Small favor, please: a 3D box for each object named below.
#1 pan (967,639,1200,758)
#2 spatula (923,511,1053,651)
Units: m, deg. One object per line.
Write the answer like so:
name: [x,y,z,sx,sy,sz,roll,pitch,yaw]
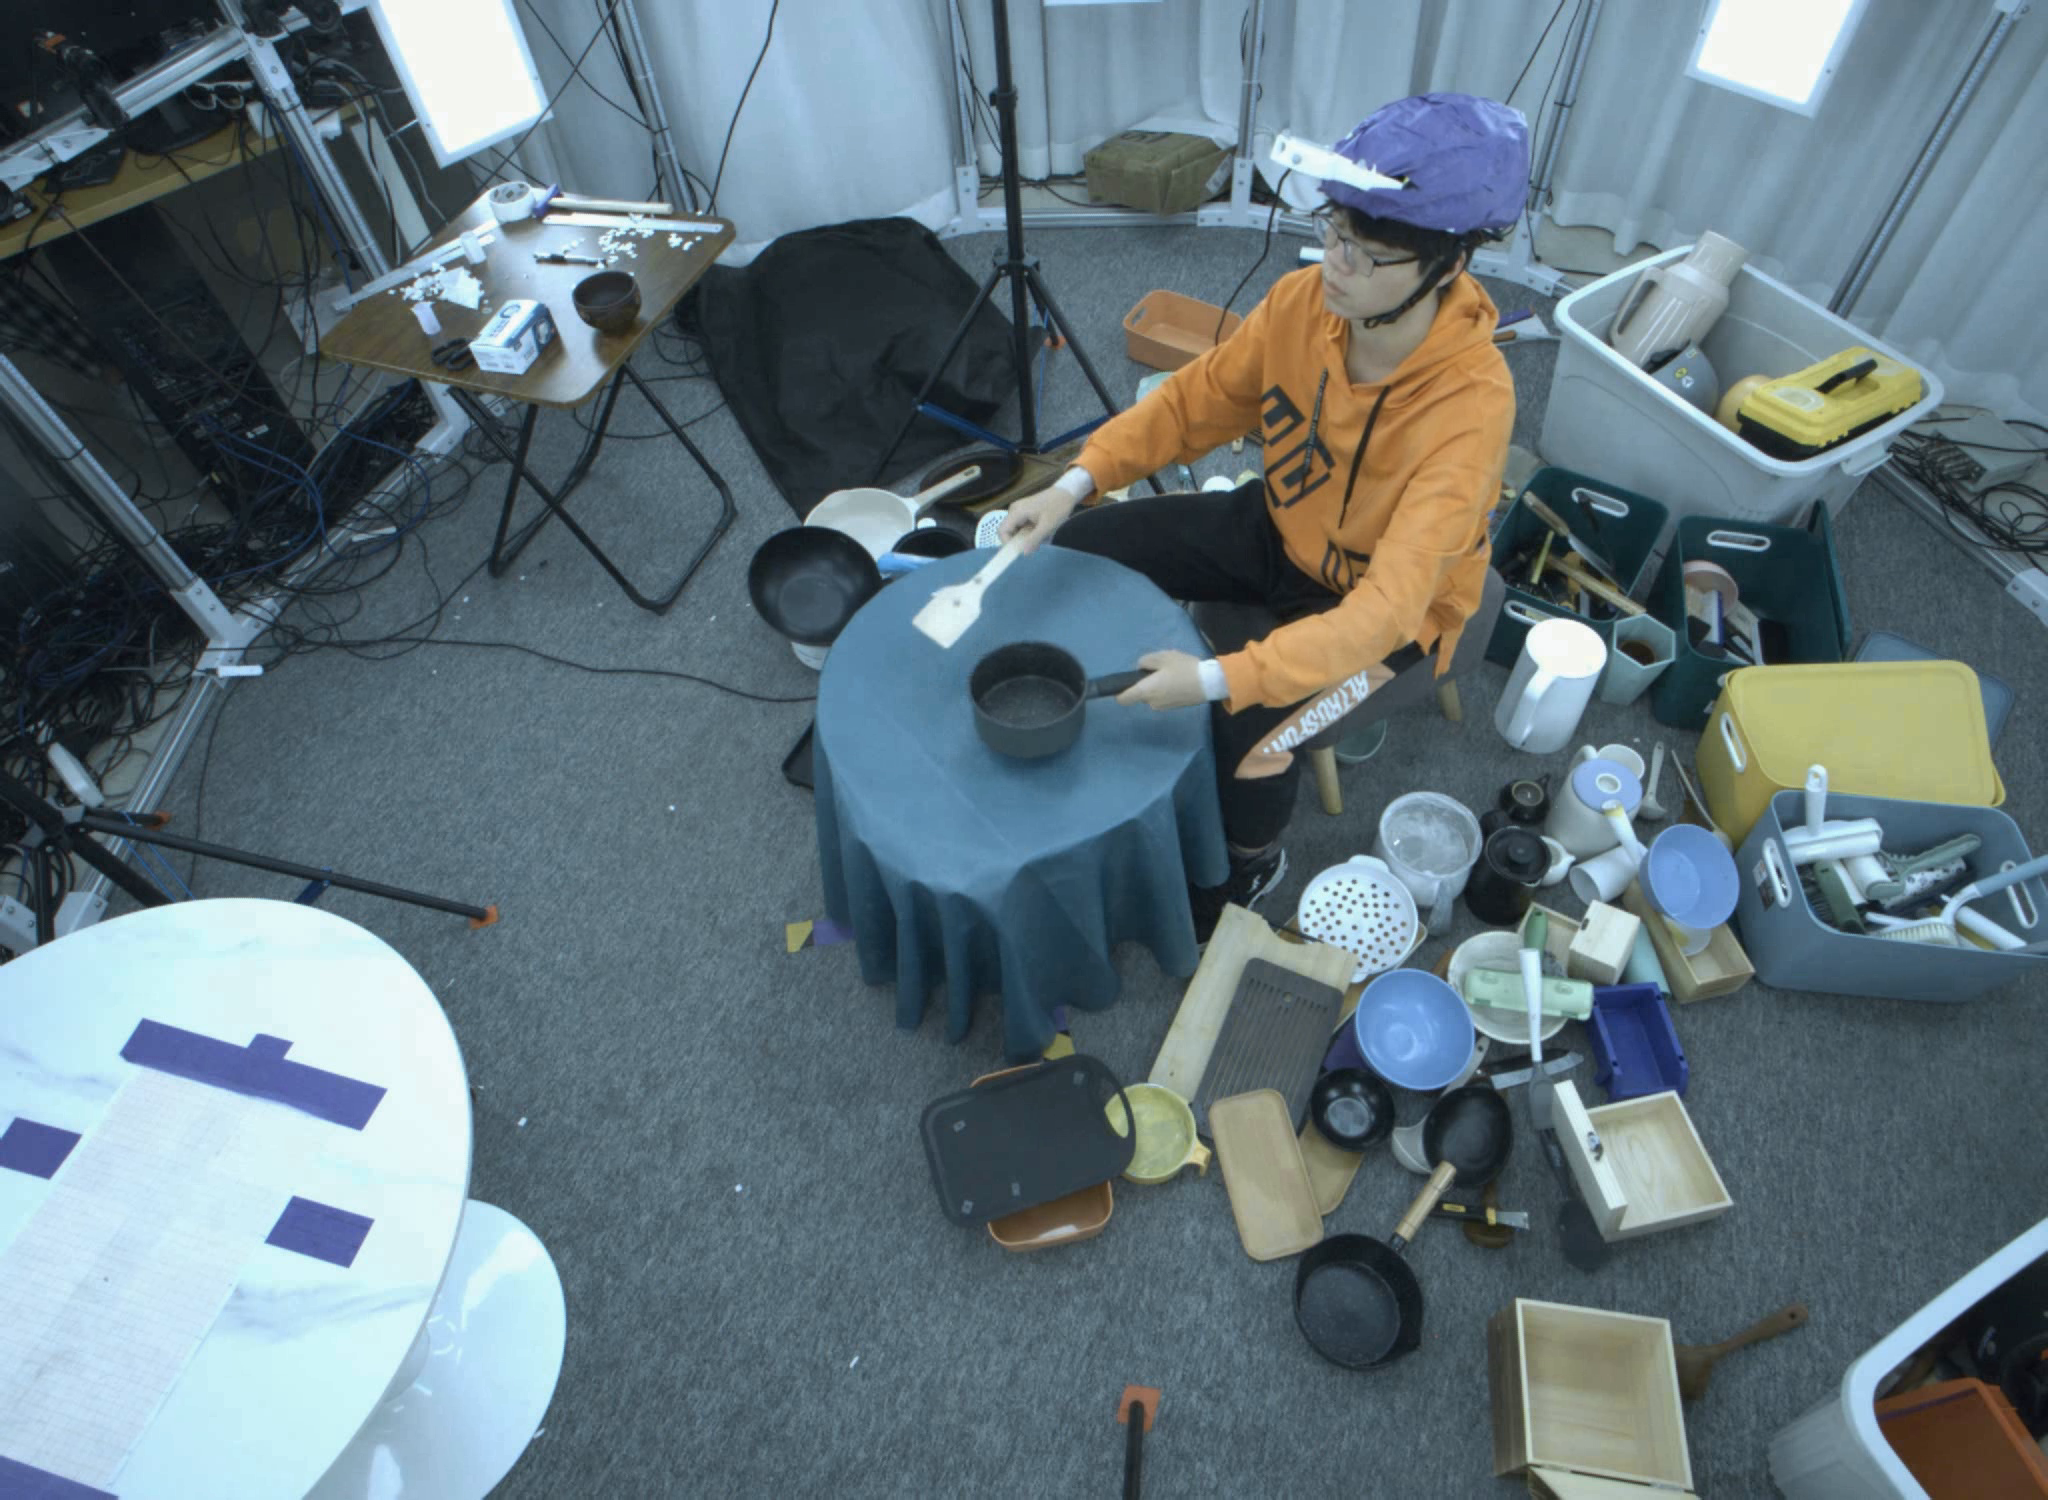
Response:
pan: [0.086,-0.078,1.757,0.329,0.087,0.170,-3,52,0]
spatula: [-0.044,-0.264,1.830,0.072,0.010,0.294,40,62,-5]
